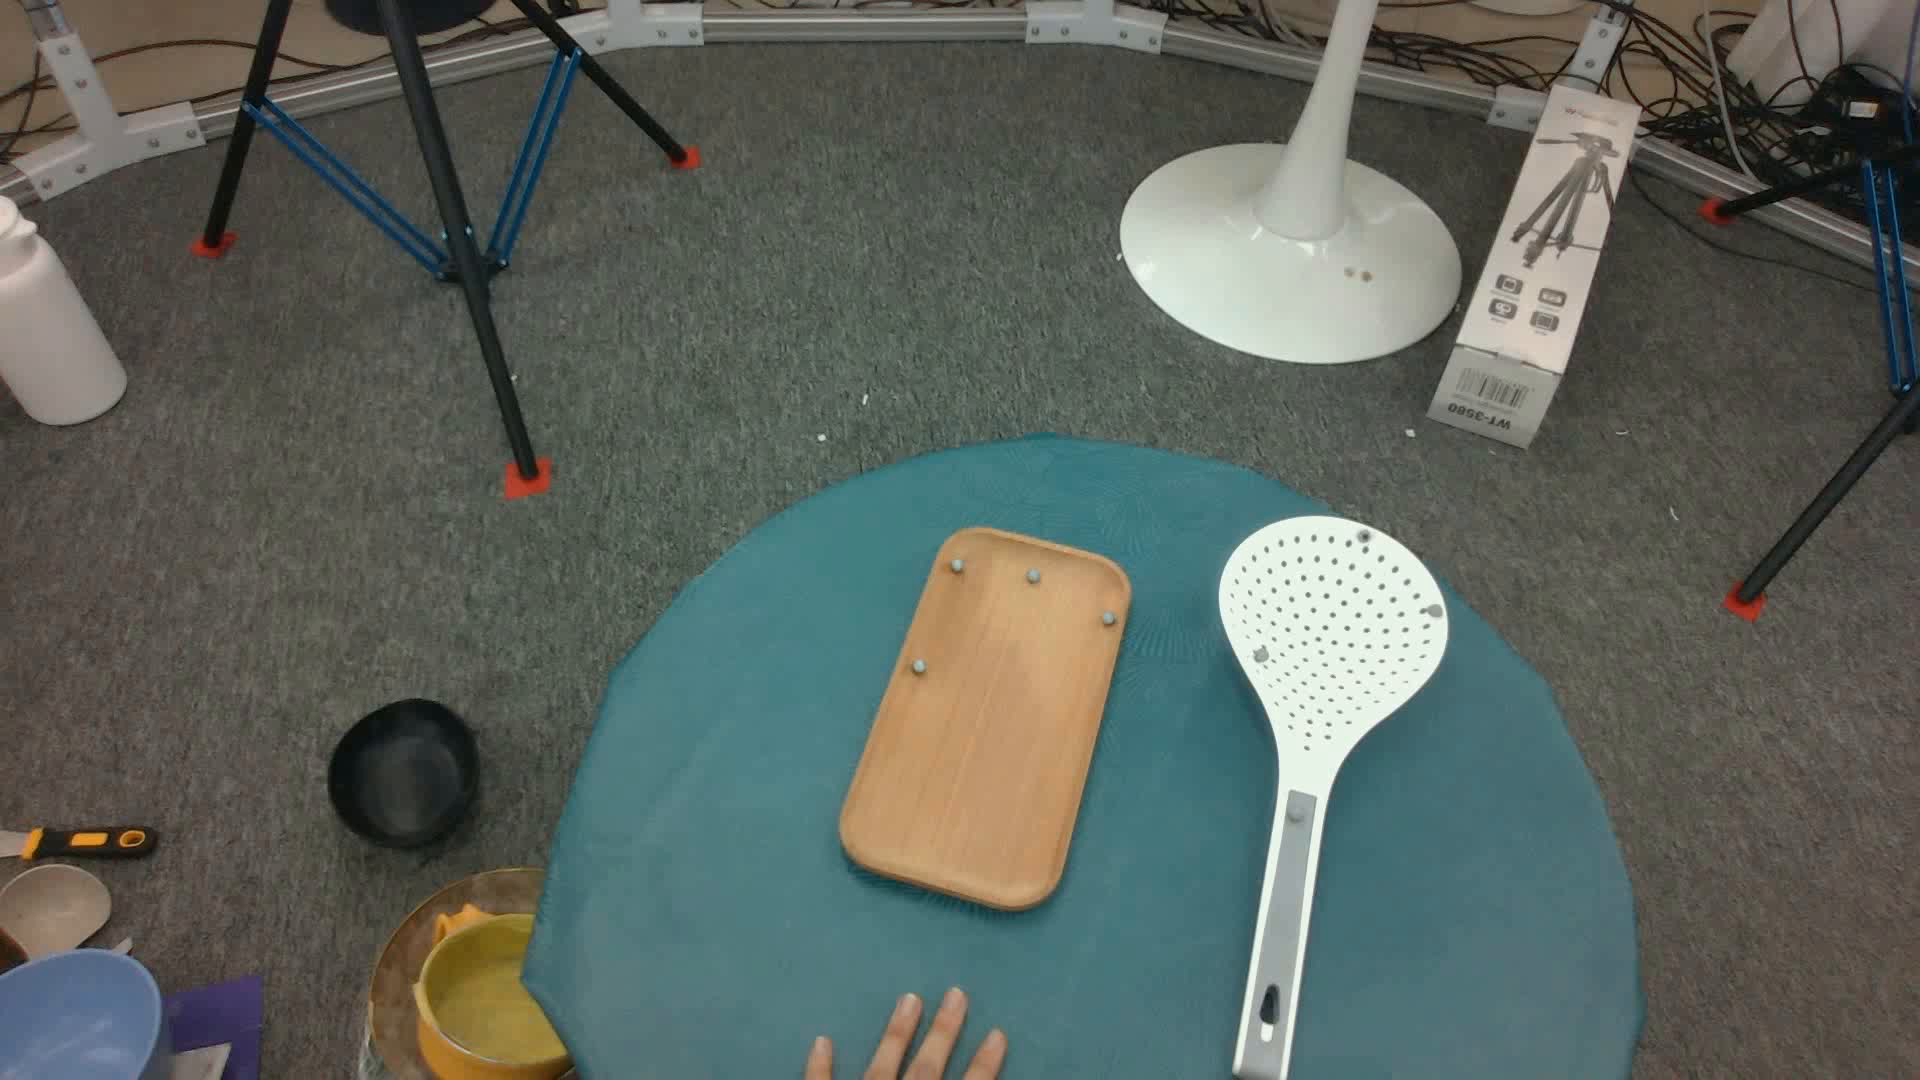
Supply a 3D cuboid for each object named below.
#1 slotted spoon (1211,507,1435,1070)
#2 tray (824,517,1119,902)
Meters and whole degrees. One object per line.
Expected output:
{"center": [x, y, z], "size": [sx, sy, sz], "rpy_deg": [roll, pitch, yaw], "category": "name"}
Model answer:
{"center": [0.190, 0.125, 0.786], "size": [0.136, 0.045, 0.351], "rpy_deg": [14, 52, 9], "category": "slotted spoon"}
{"center": [0.013, 0.092, 0.818], "size": [0.130, 0.023, 0.252], "rpy_deg": [13, 52, 9], "category": "tray"}
